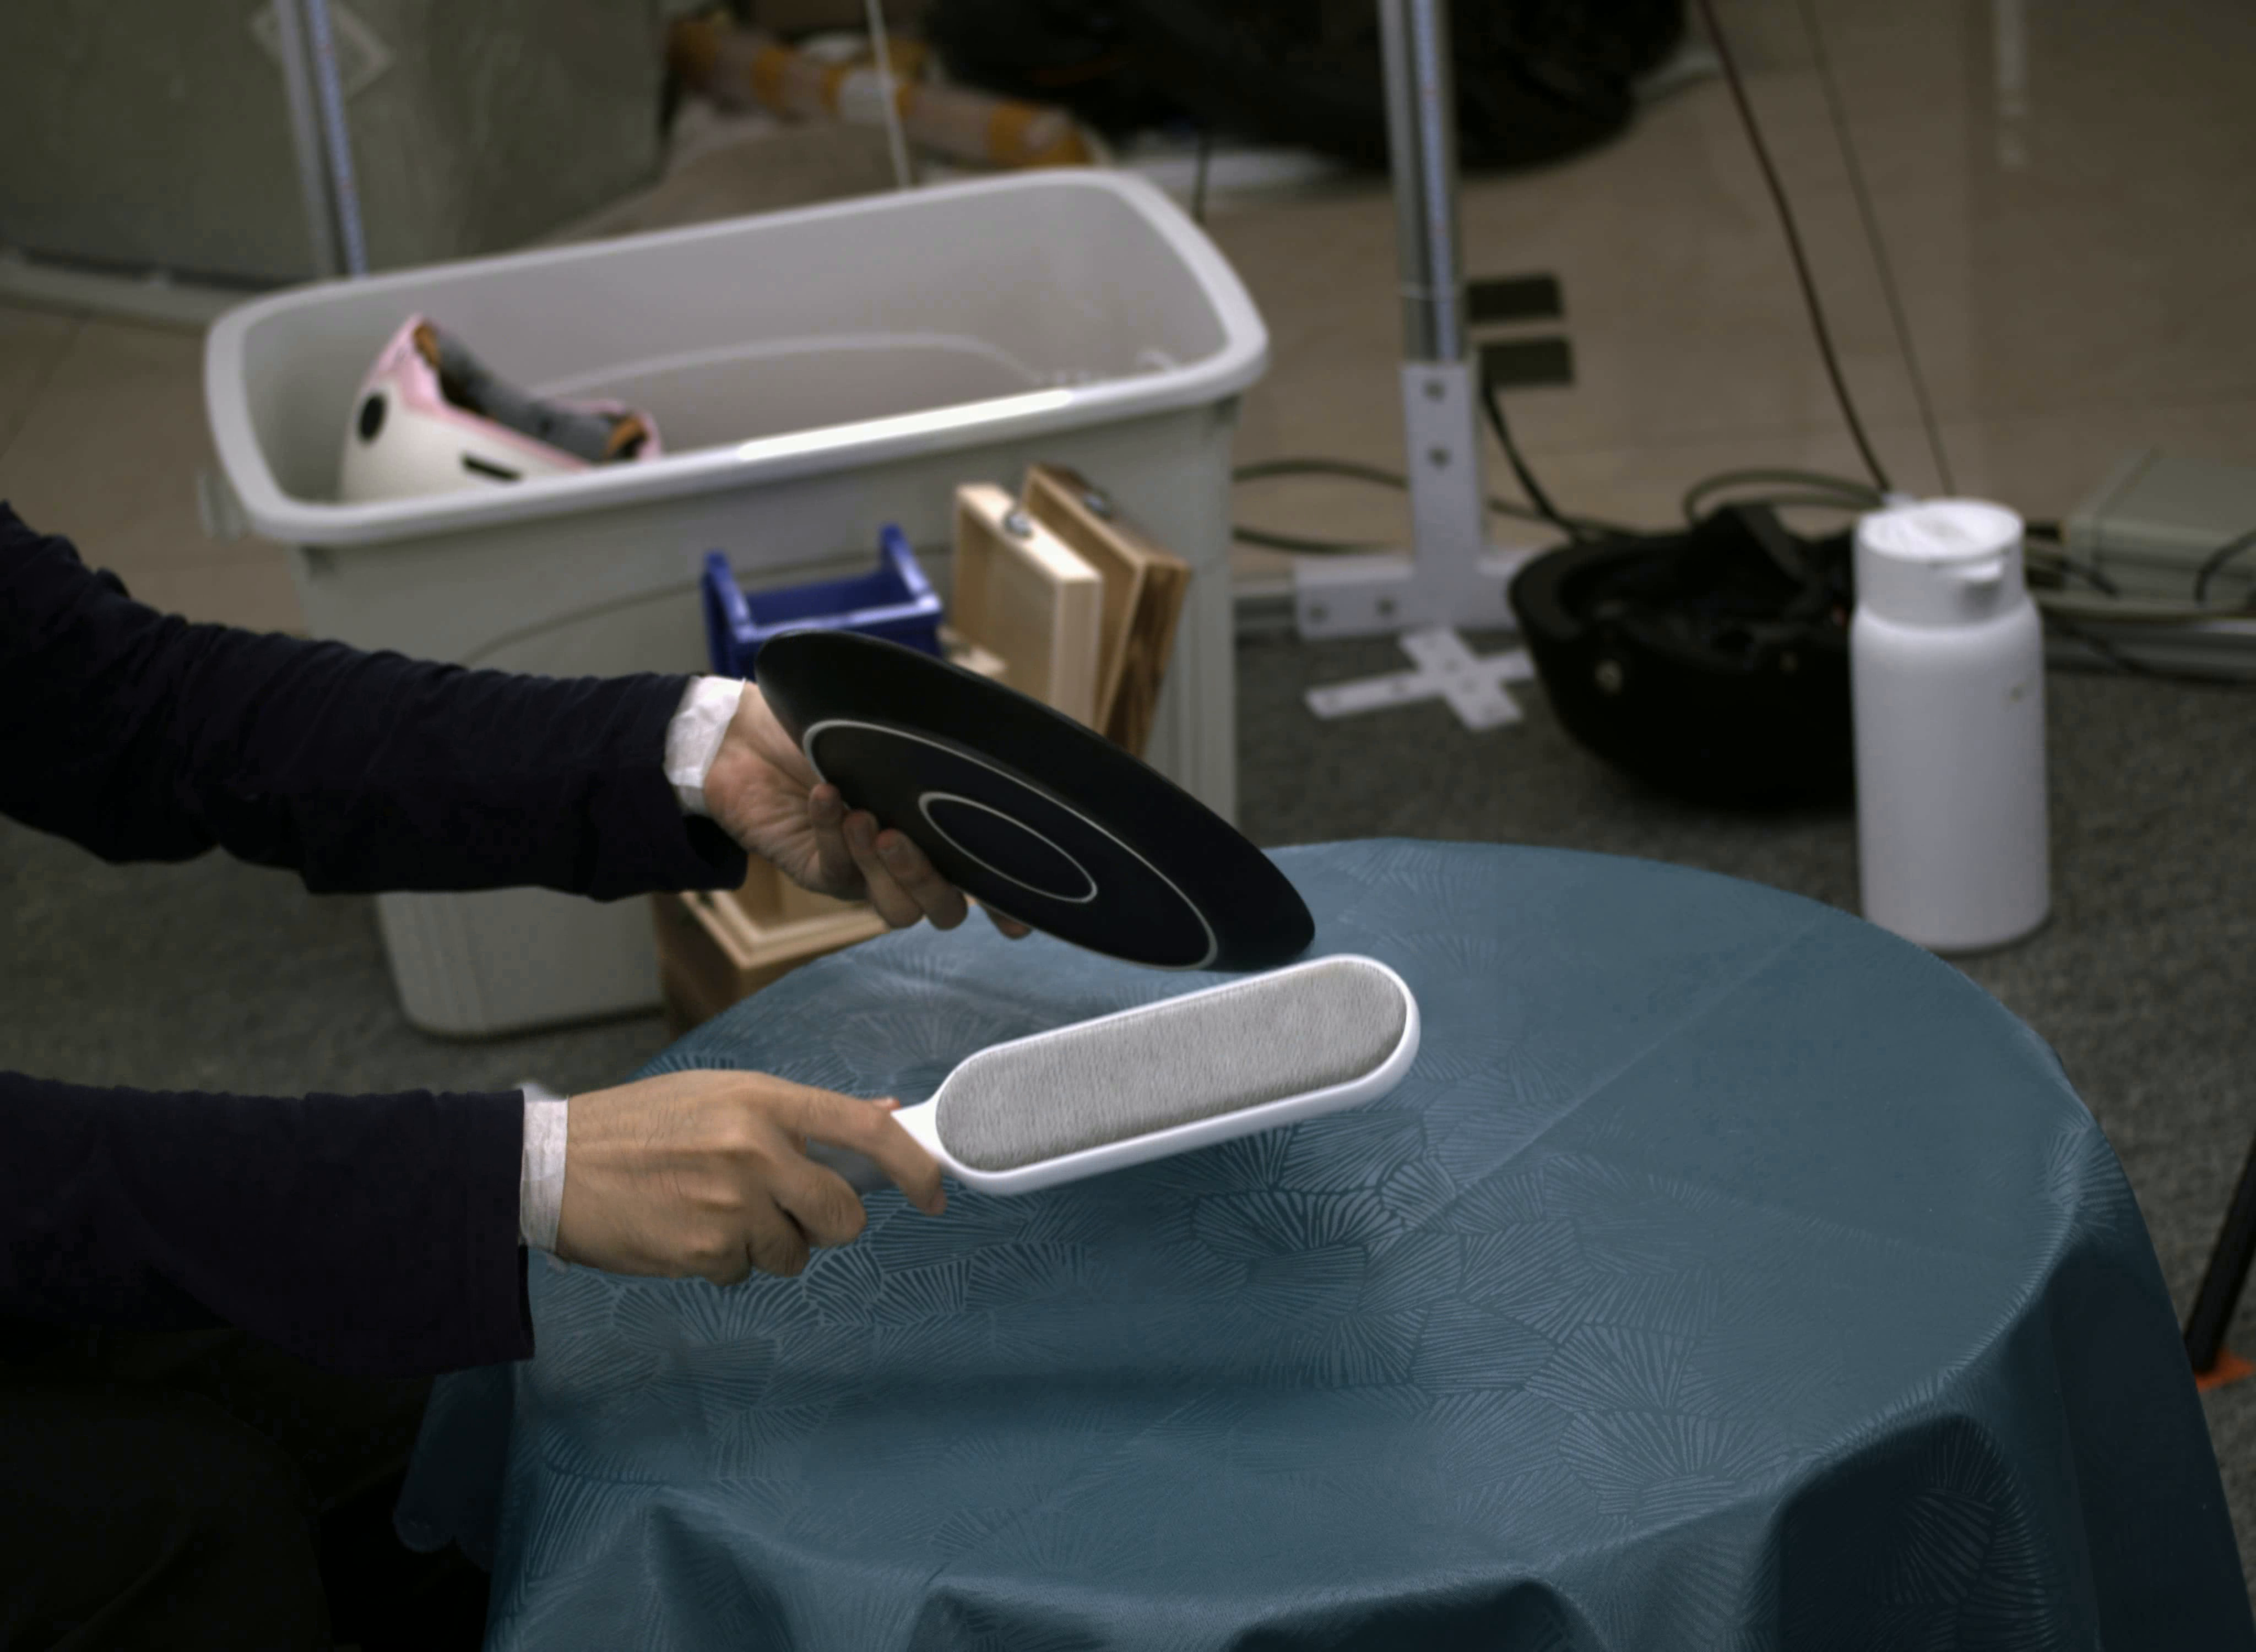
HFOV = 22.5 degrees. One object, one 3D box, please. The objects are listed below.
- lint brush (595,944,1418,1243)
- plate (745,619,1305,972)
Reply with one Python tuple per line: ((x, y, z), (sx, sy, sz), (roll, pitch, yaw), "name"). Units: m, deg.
((-0.045, 0.100, 2.028), (0.309, 0.021, 0.059), (-15, 62, 9), "lint brush")
((-0.044, -0.003, 2.177), (0.243, 0.248, 0.023), (15, 68, 38), "plate")
